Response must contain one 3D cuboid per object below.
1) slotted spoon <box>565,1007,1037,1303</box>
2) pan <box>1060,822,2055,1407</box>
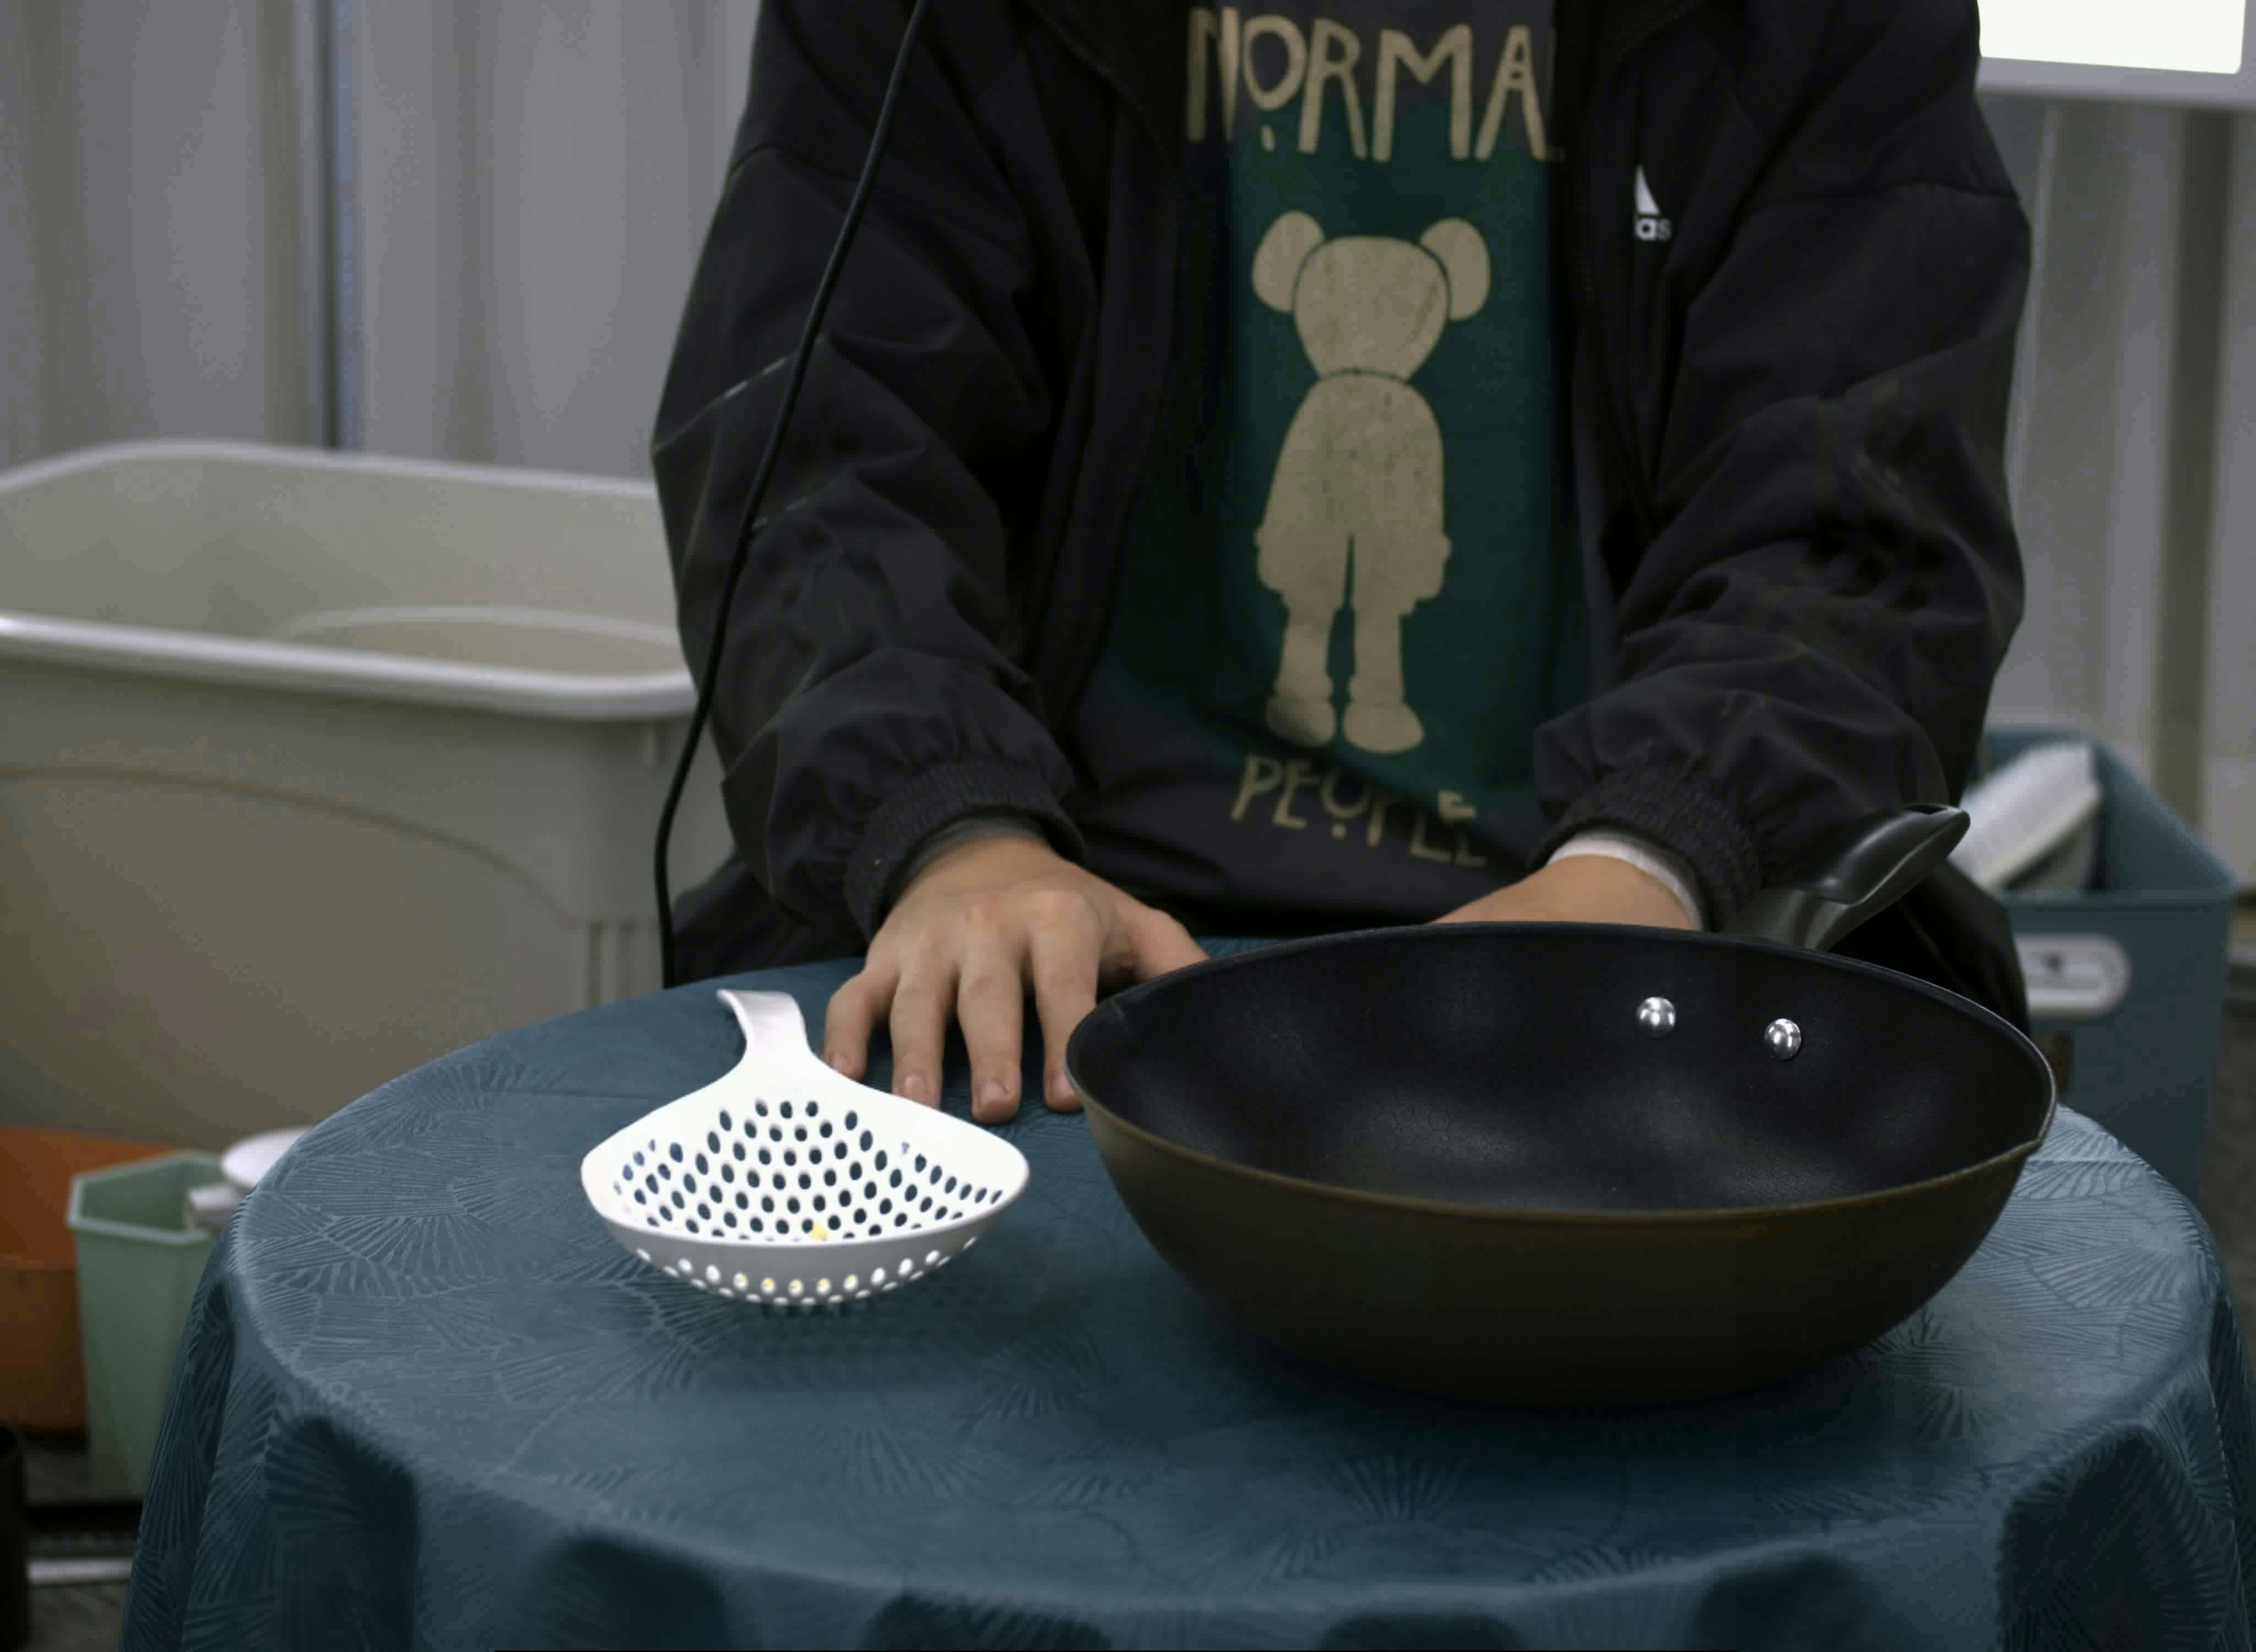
[{"bbox_3d":[-0.107,0.088,1.633,0.136,0.051,0.345,-3,16,-6],"label":"slotted spoon"},{"bbox_3d":[0.163,0.082,1.586,0.285,0.087,0.465,9,16,26],"label":"pan"}]
